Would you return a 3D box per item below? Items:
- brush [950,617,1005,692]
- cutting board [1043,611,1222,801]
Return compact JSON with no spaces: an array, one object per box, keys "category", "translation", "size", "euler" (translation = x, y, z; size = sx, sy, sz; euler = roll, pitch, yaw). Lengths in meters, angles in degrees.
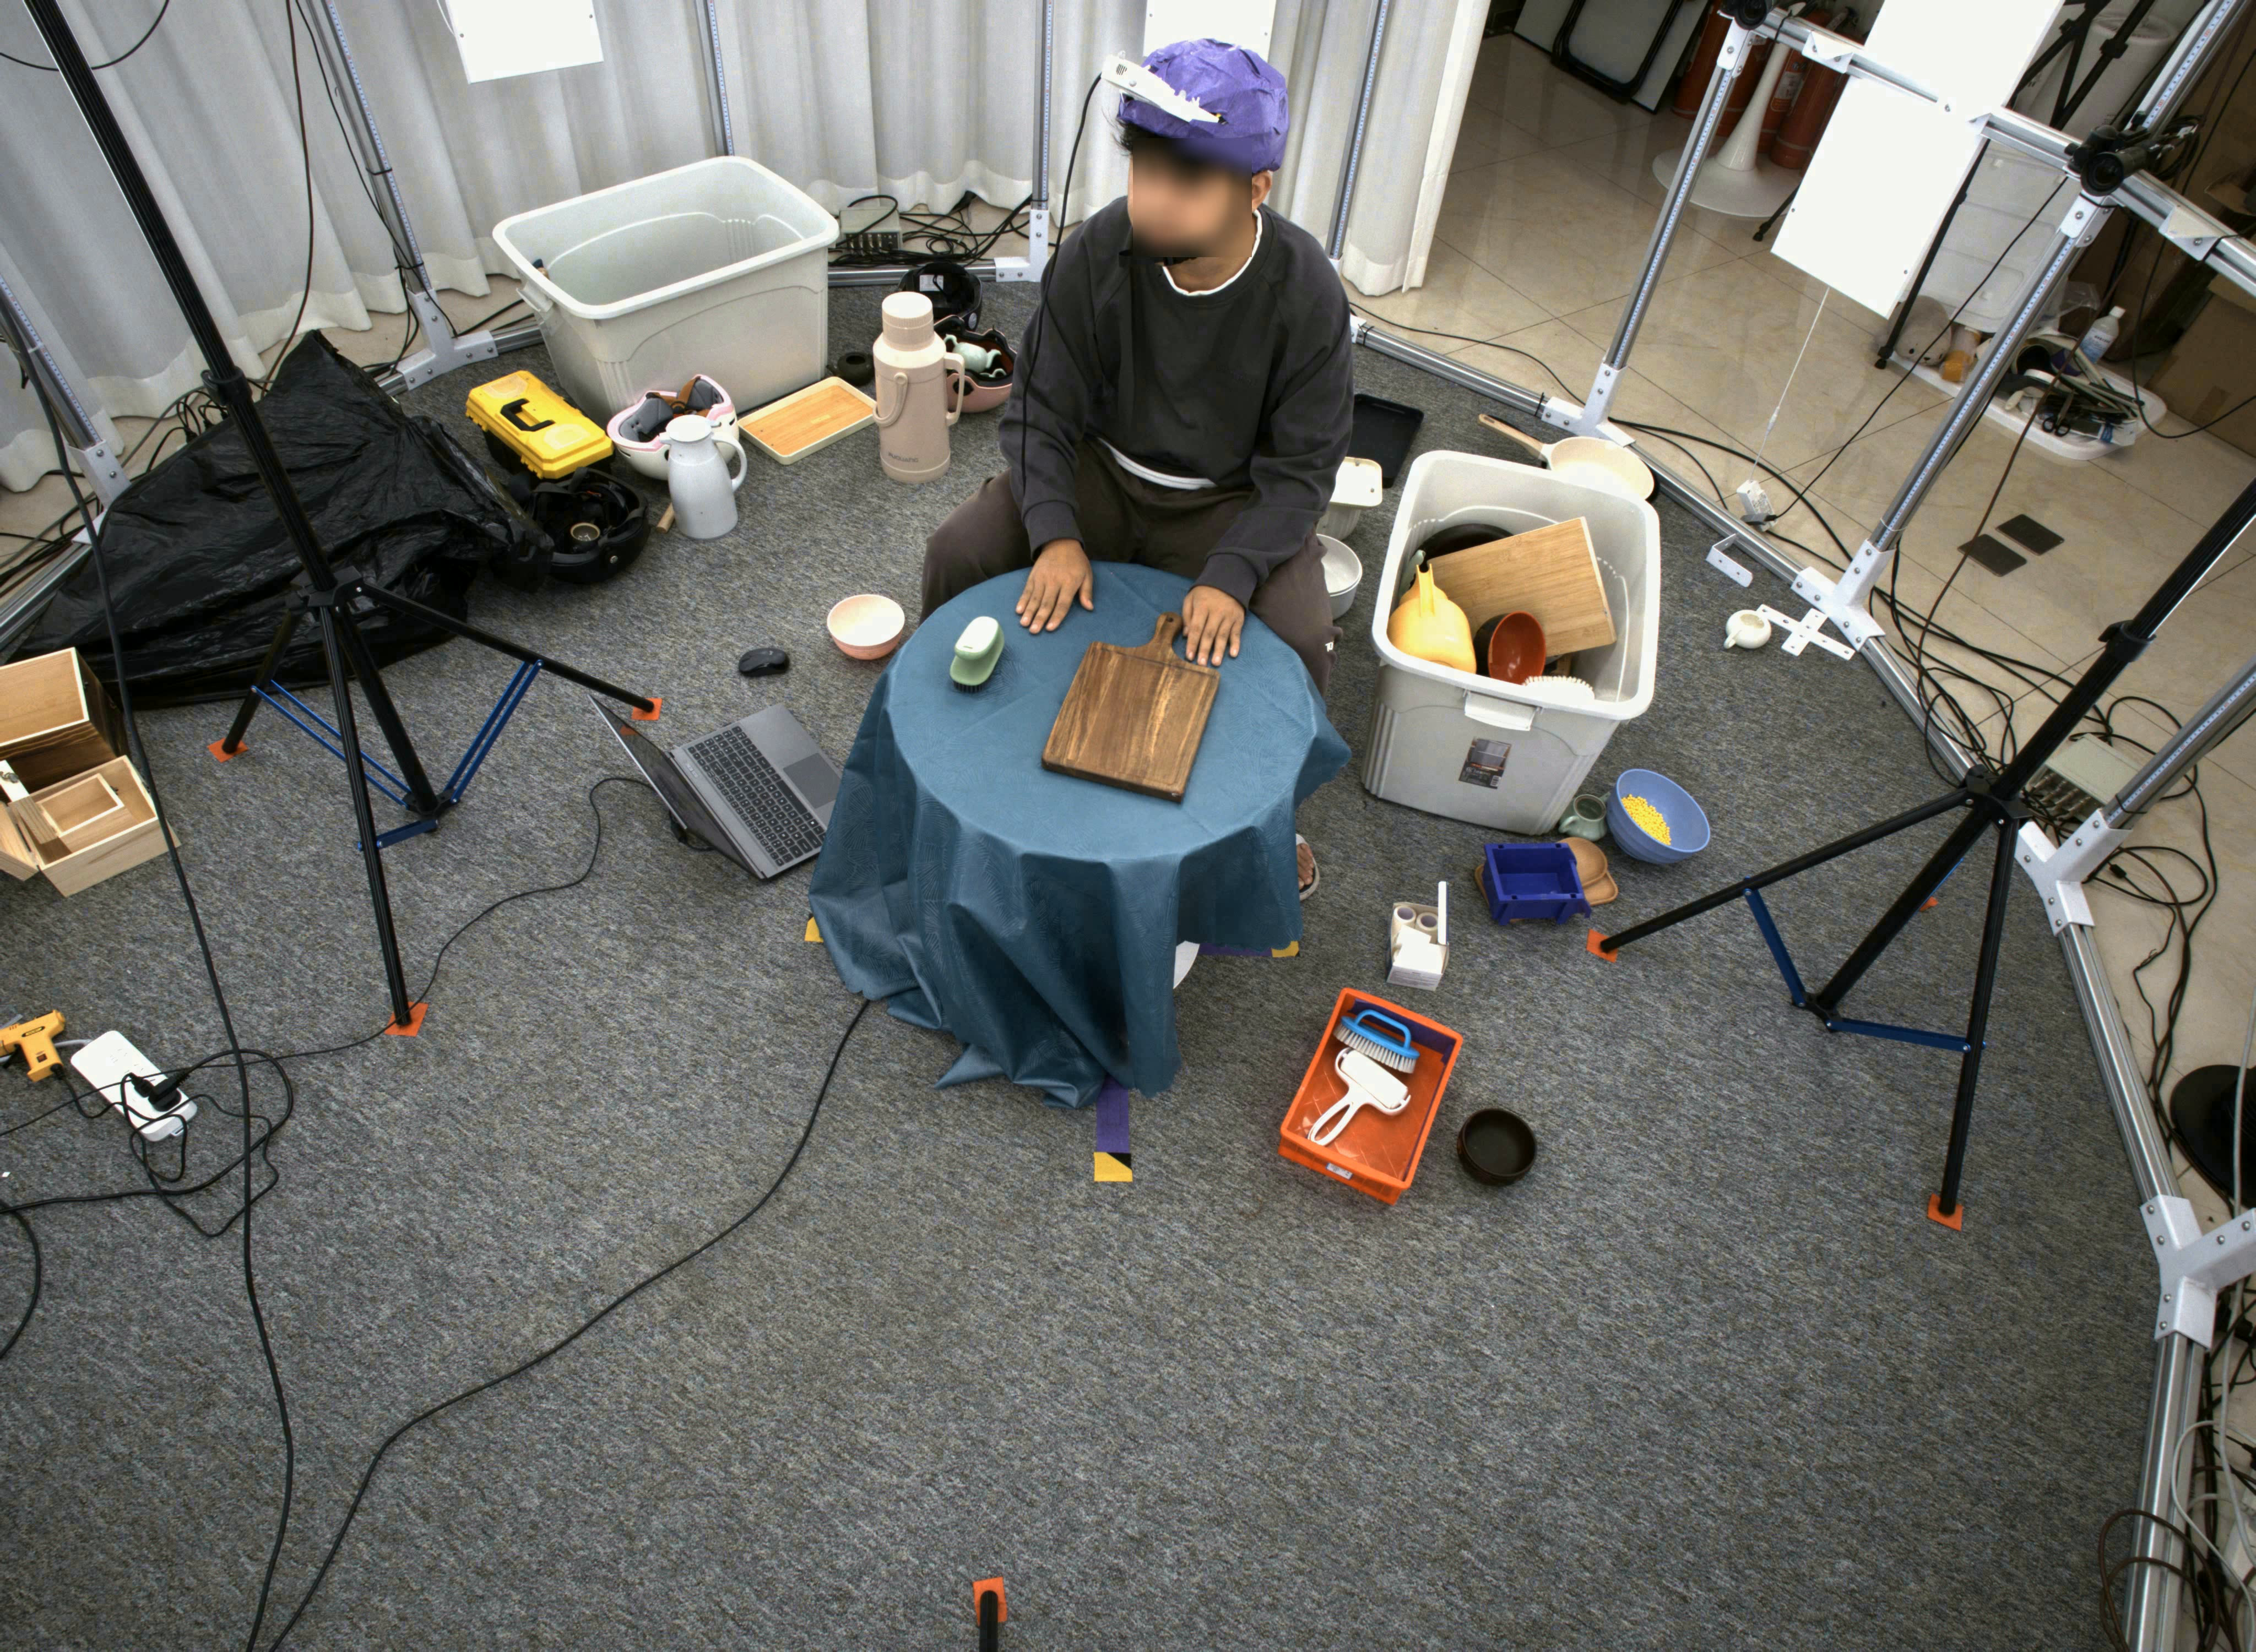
[{"category":"brush","translation":[-0.214,-0.245,1.828],"size":[0.060,0.074,0.125],"euler":[13,36,6]},{"category":"cutting board","translation":[0.024,-0.187,1.816],"size":[0.201,0.022,0.360],"euler":[14,49,7]}]
